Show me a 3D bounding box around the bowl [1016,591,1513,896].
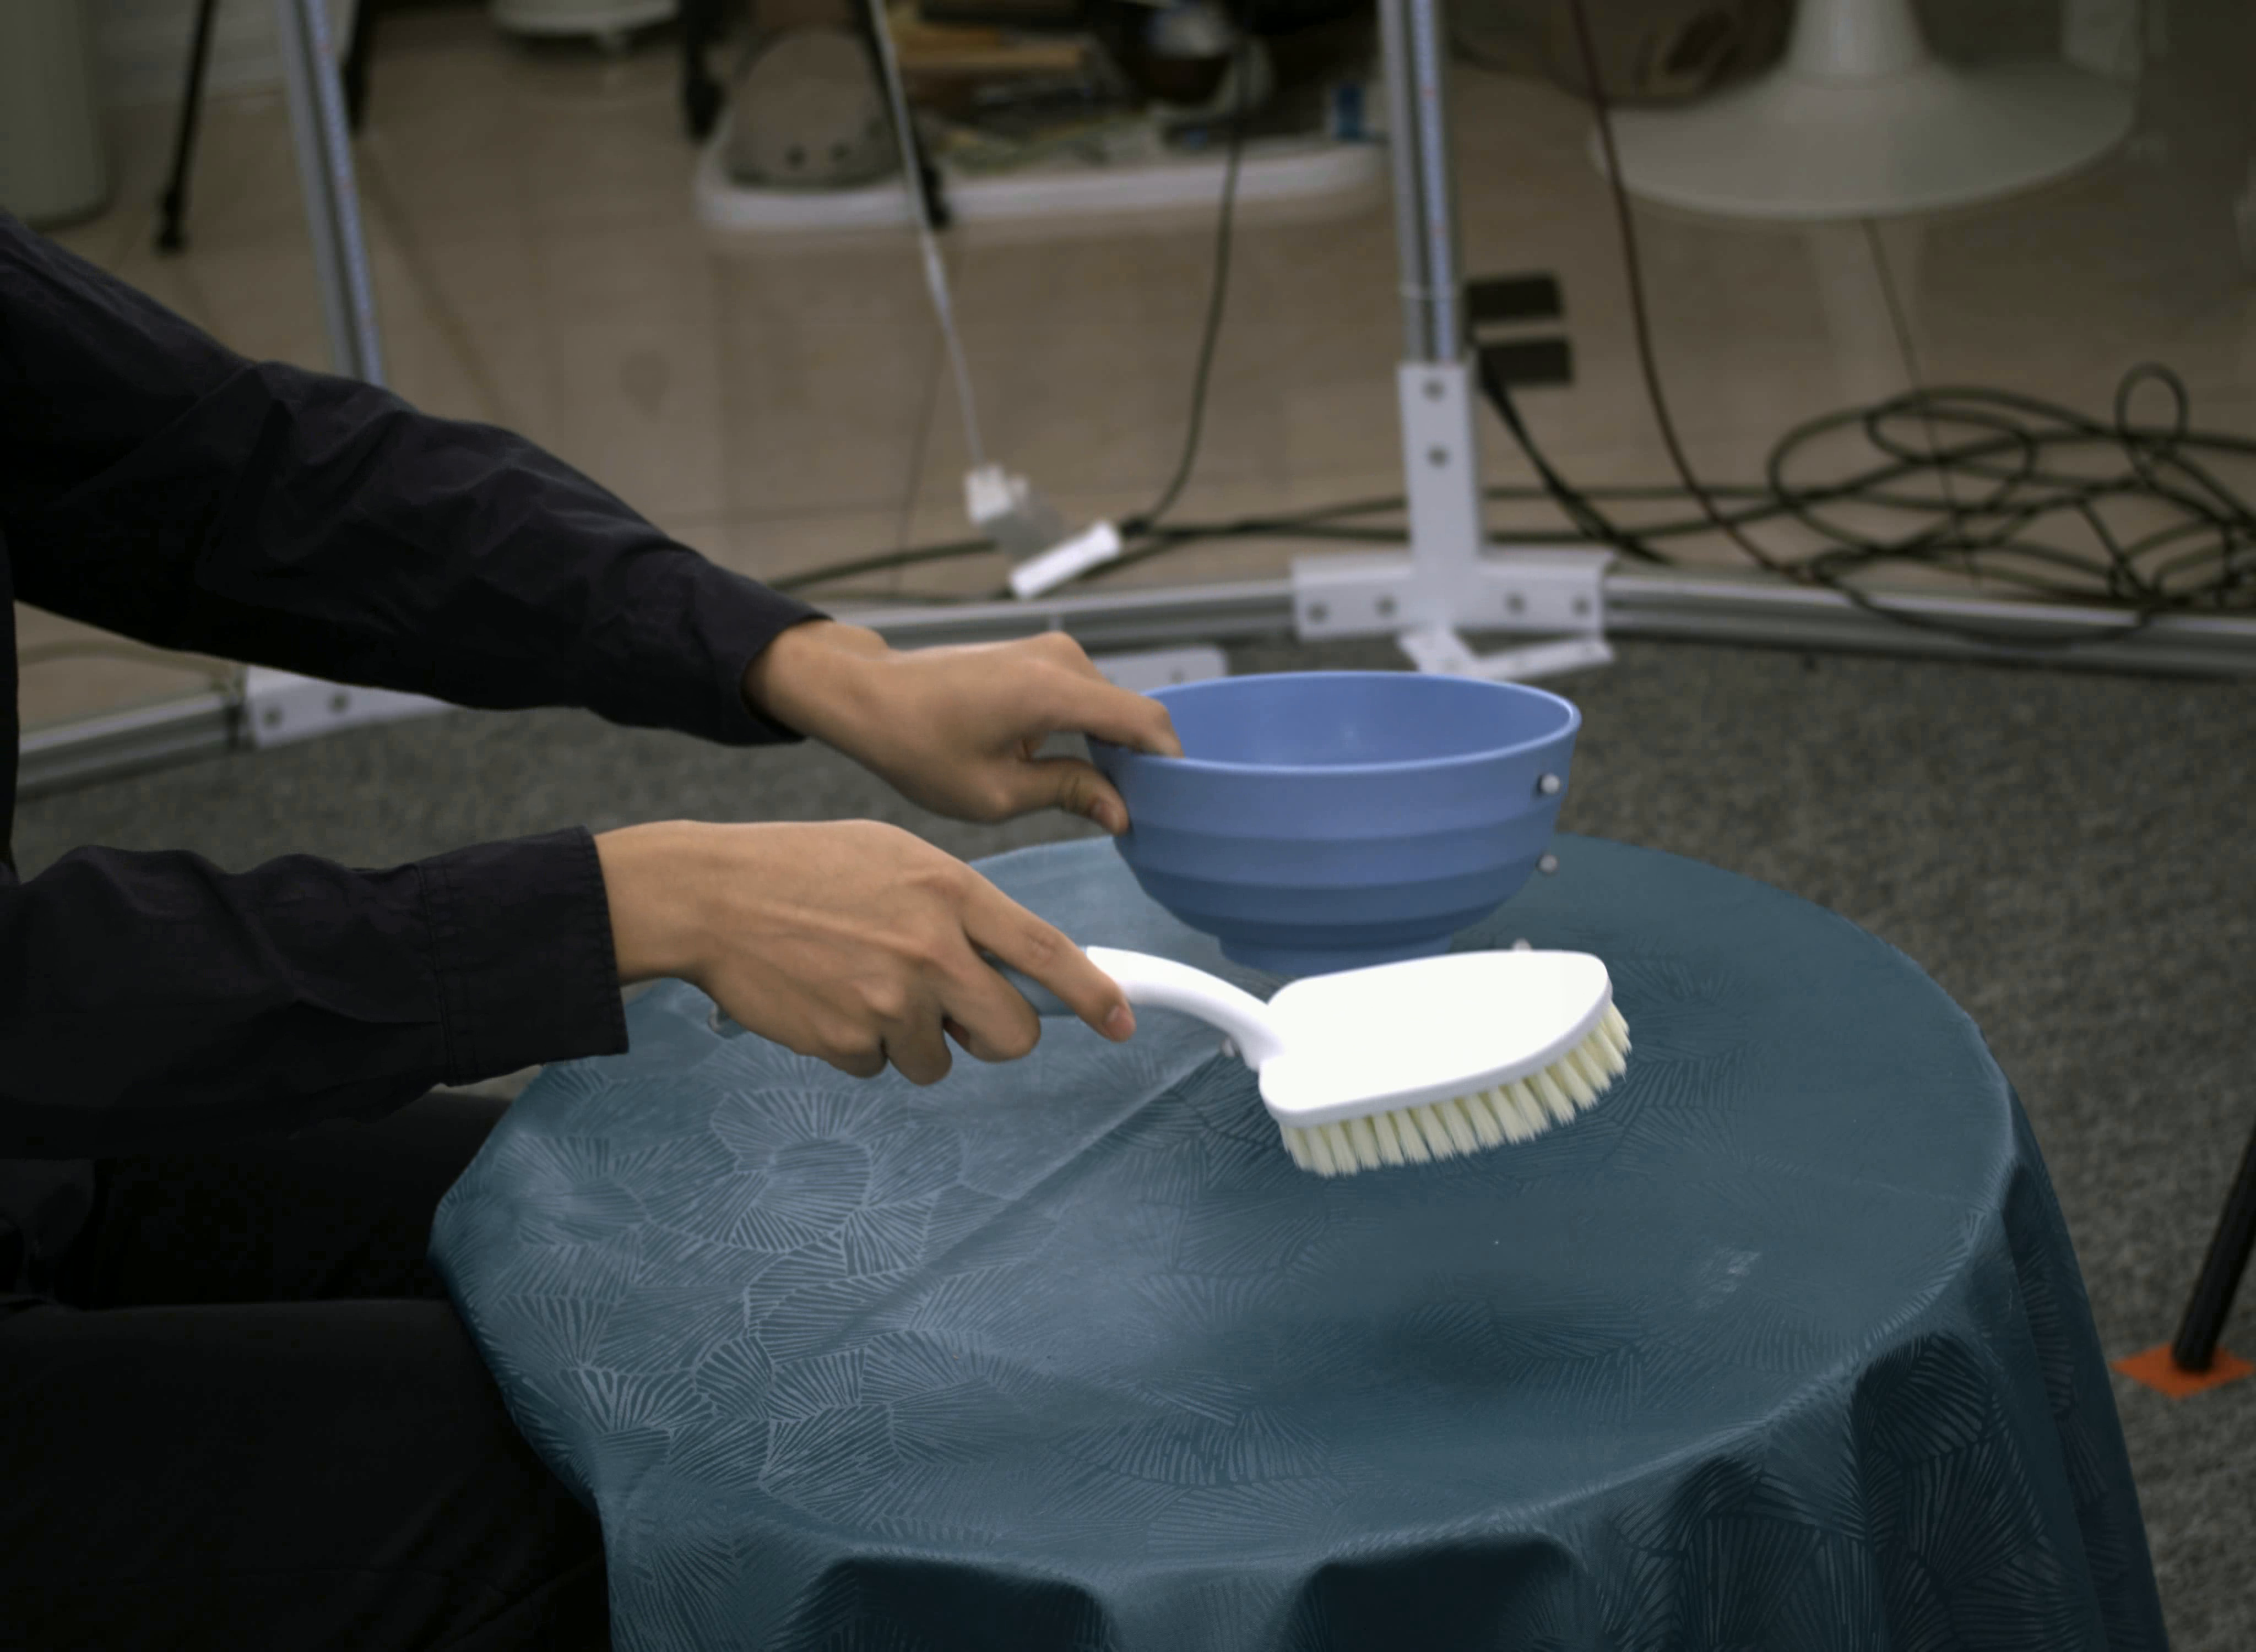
[{"bbox_3d":[0.056,-0.029,2.245,0.196,0.096,0.195,-3,13,1],"label":"bowl"}]

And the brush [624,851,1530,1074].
[{"bbox_3d":[-0.018,0.048,2.043,0.325,0.085,0.083,-1,6,4],"label":"brush"}]
